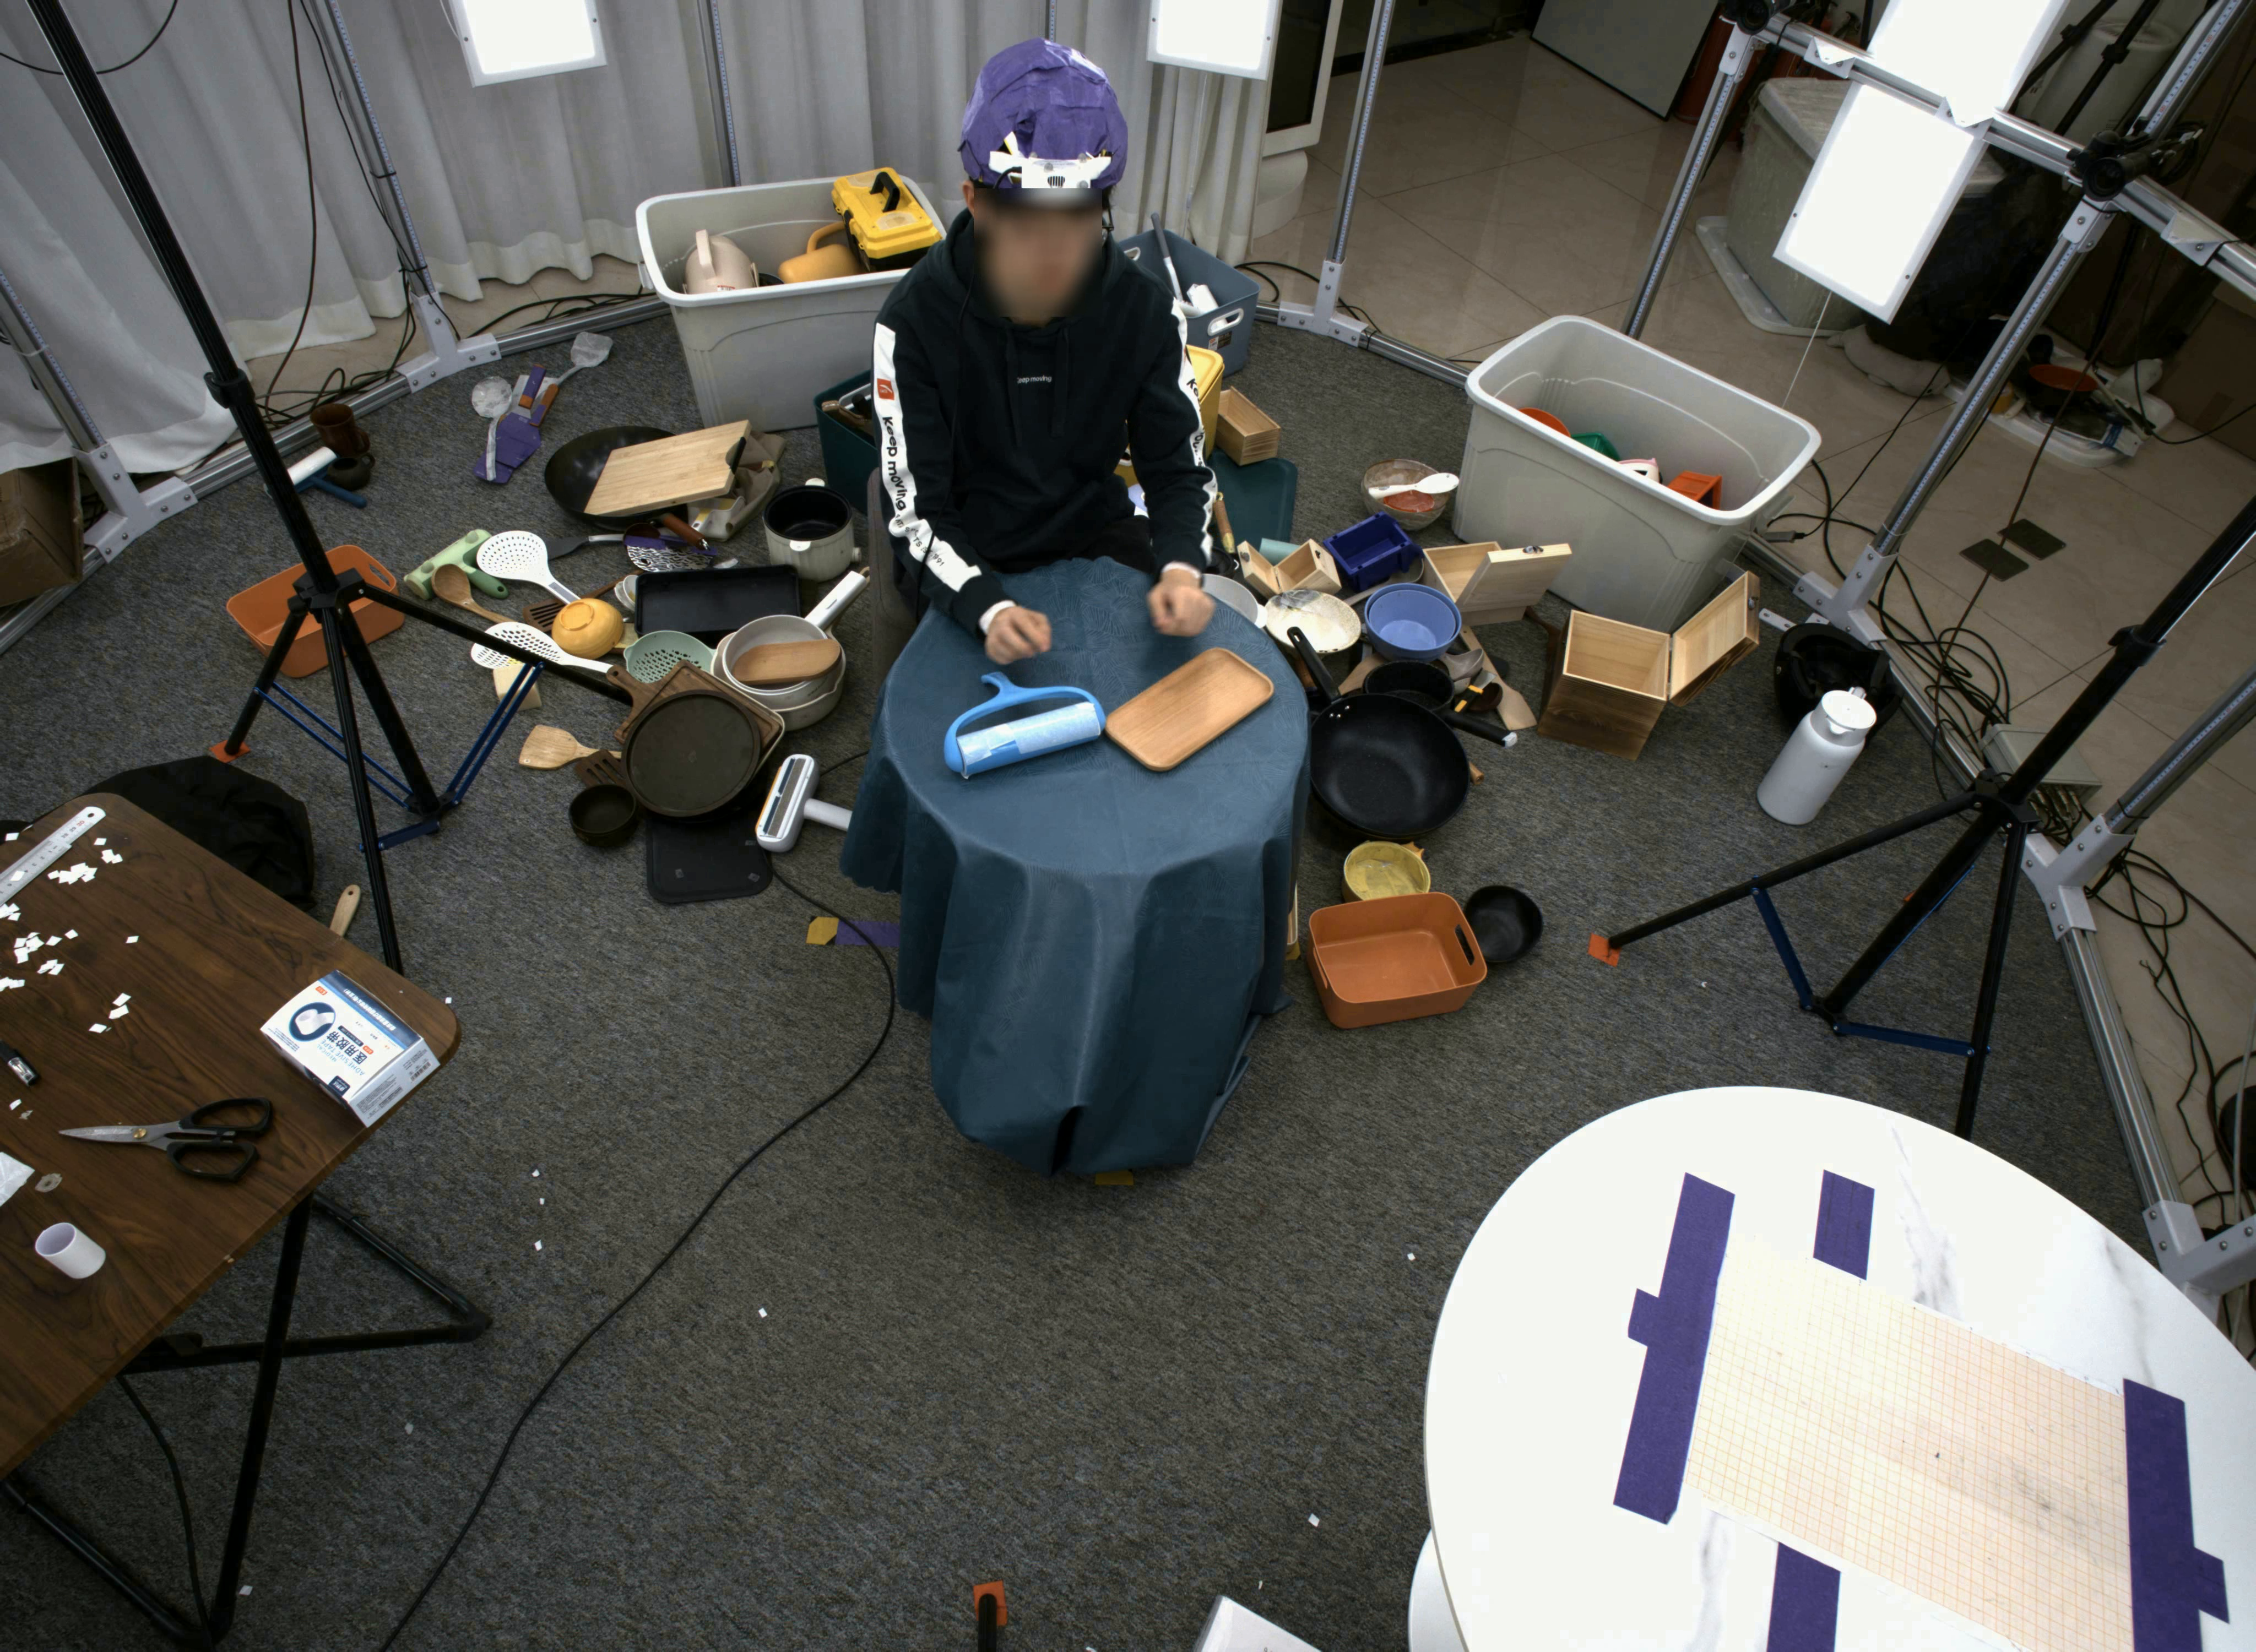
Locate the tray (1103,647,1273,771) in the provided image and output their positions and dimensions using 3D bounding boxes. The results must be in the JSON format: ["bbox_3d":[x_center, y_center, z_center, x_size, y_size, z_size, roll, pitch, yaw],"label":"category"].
[{"bbox_3d":[0.086,-0.167,1.807,0.253,0.022,0.132,-35,57,-28],"label":"tray"}]

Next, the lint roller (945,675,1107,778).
[{"bbox_3d":[-0.161,-0.160,1.760,0.229,0.066,0.184,-20,54,-18],"label":"lint roller"}]
